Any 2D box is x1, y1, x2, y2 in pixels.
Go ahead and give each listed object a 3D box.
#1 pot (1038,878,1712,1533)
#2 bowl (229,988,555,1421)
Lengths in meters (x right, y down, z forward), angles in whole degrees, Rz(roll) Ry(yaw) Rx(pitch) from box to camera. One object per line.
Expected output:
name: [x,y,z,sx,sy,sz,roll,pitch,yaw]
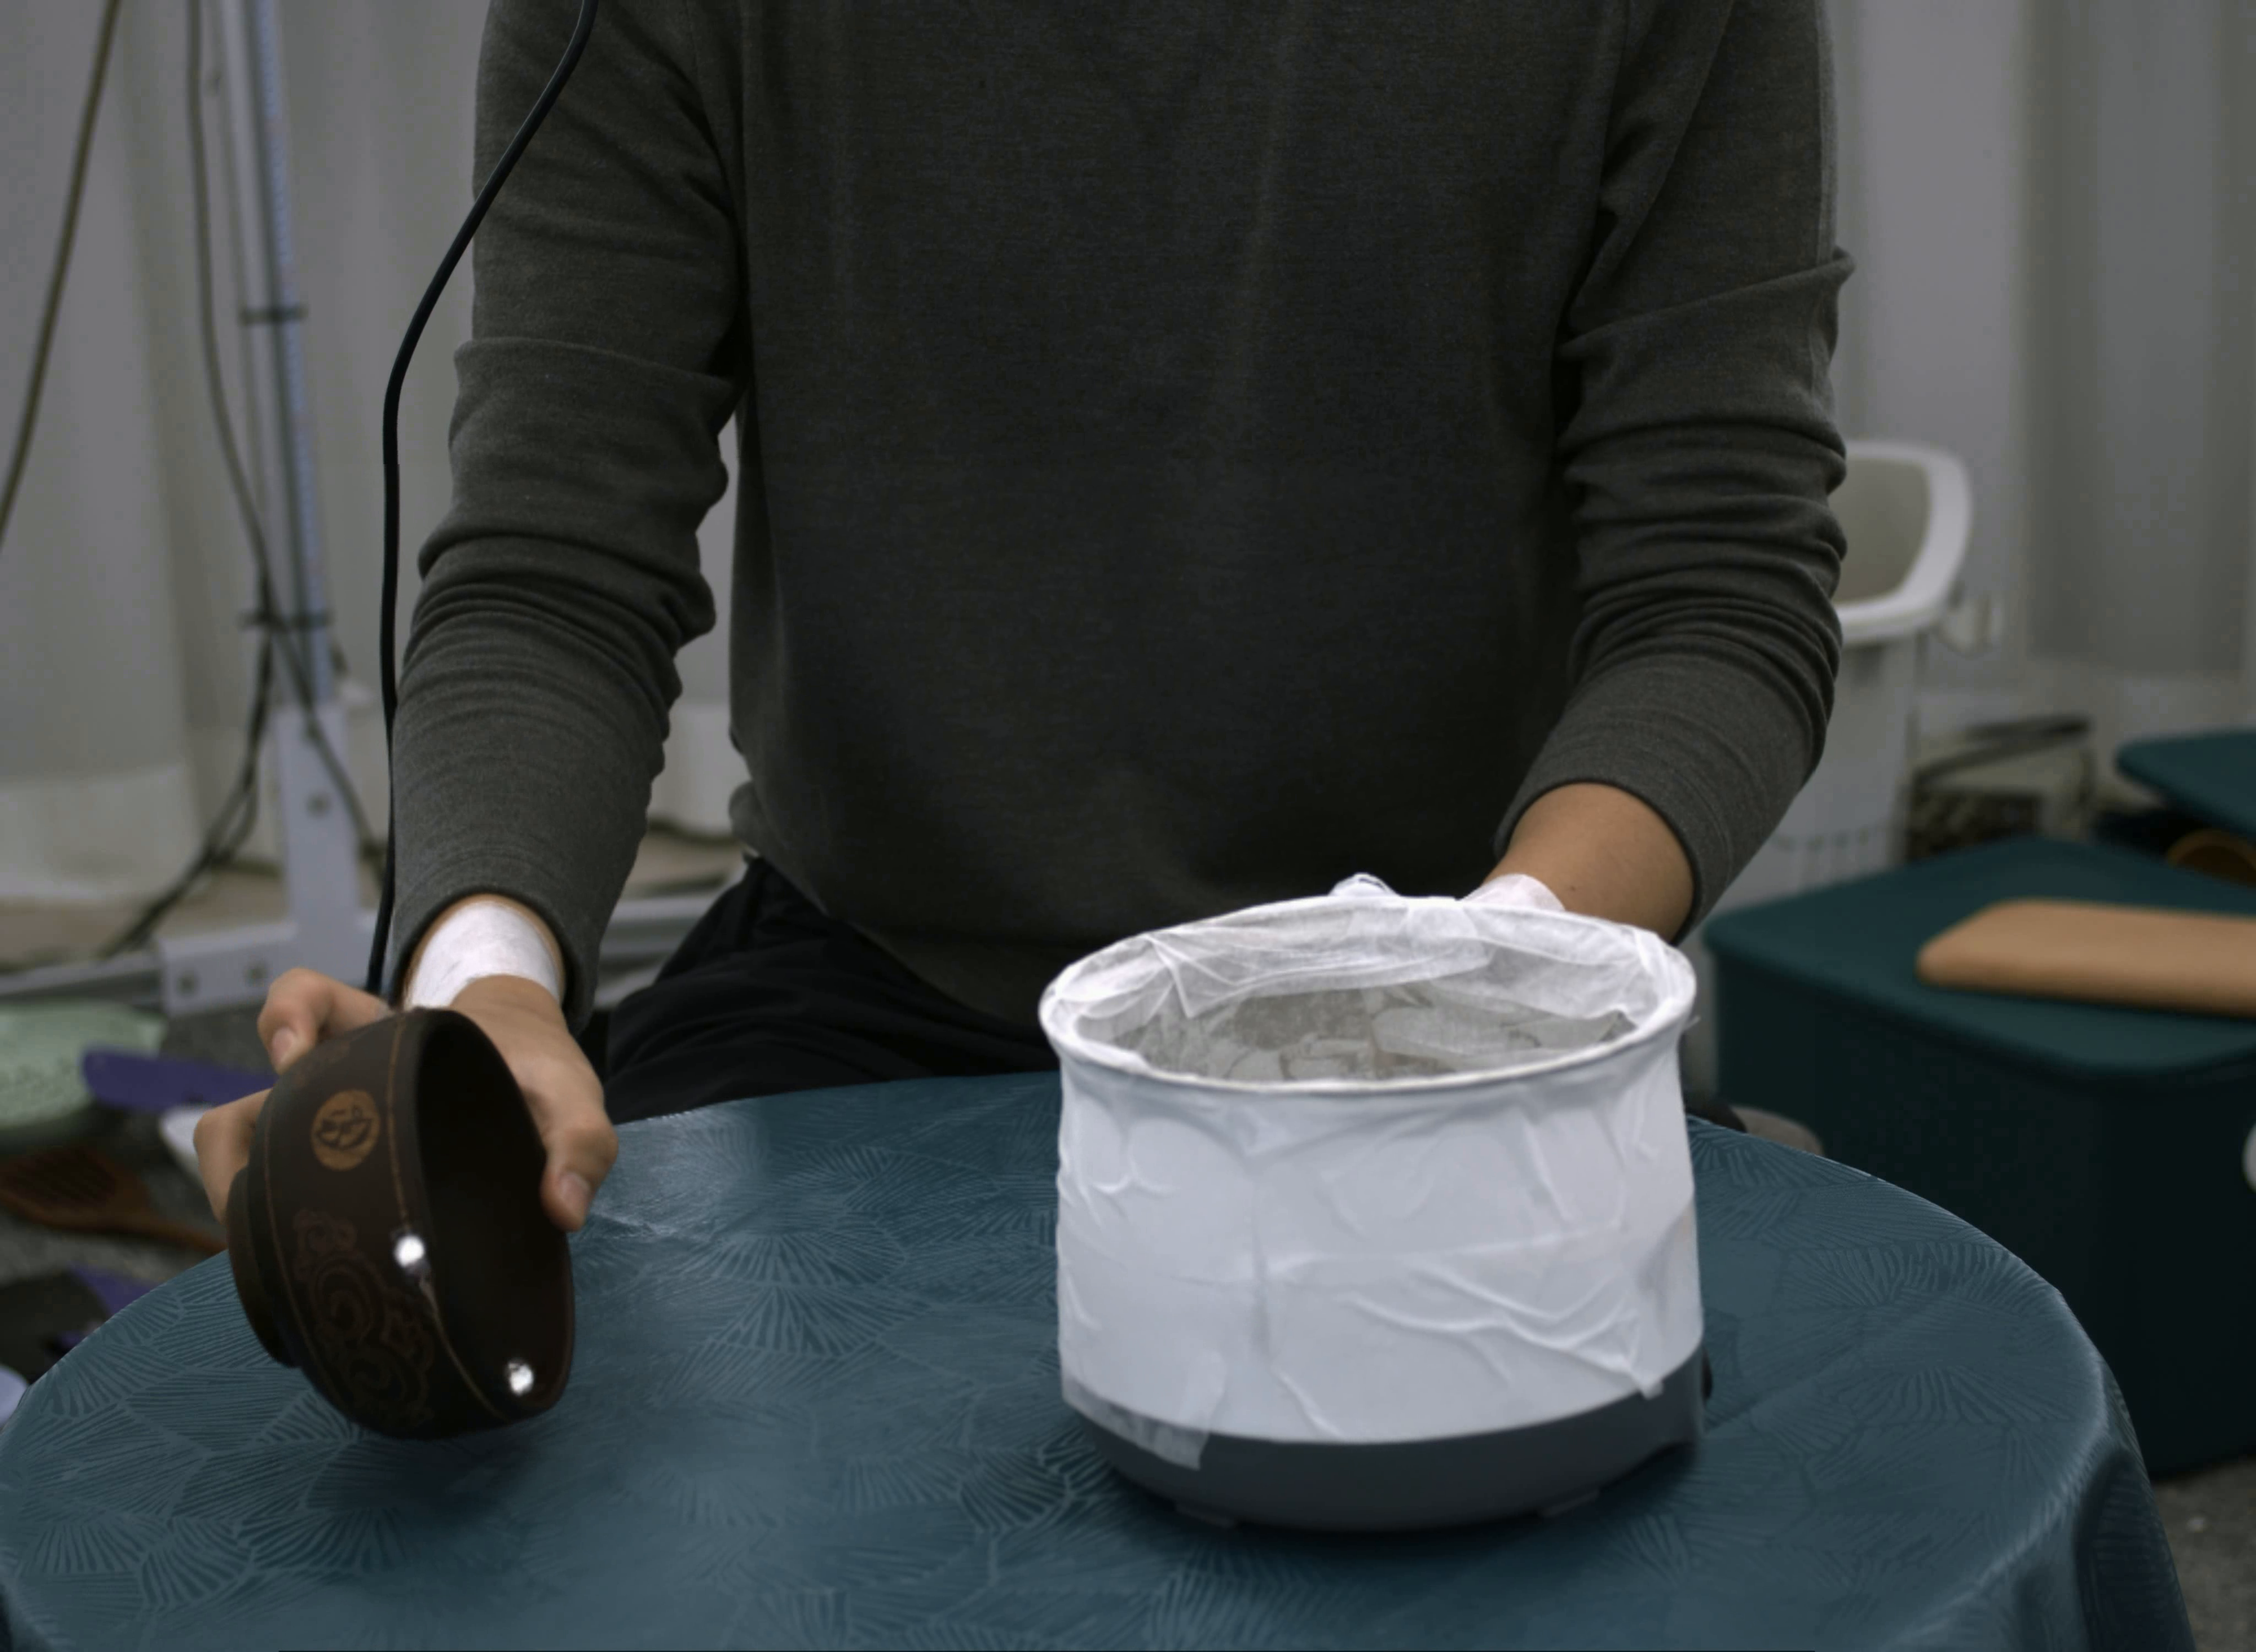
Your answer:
pot: [0.068,0.098,1.504,0.178,0.136,0.235,-2,13,1]
bowl: [-0.208,0.109,1.520,0.069,0.117,0.119,-13,14,4]
